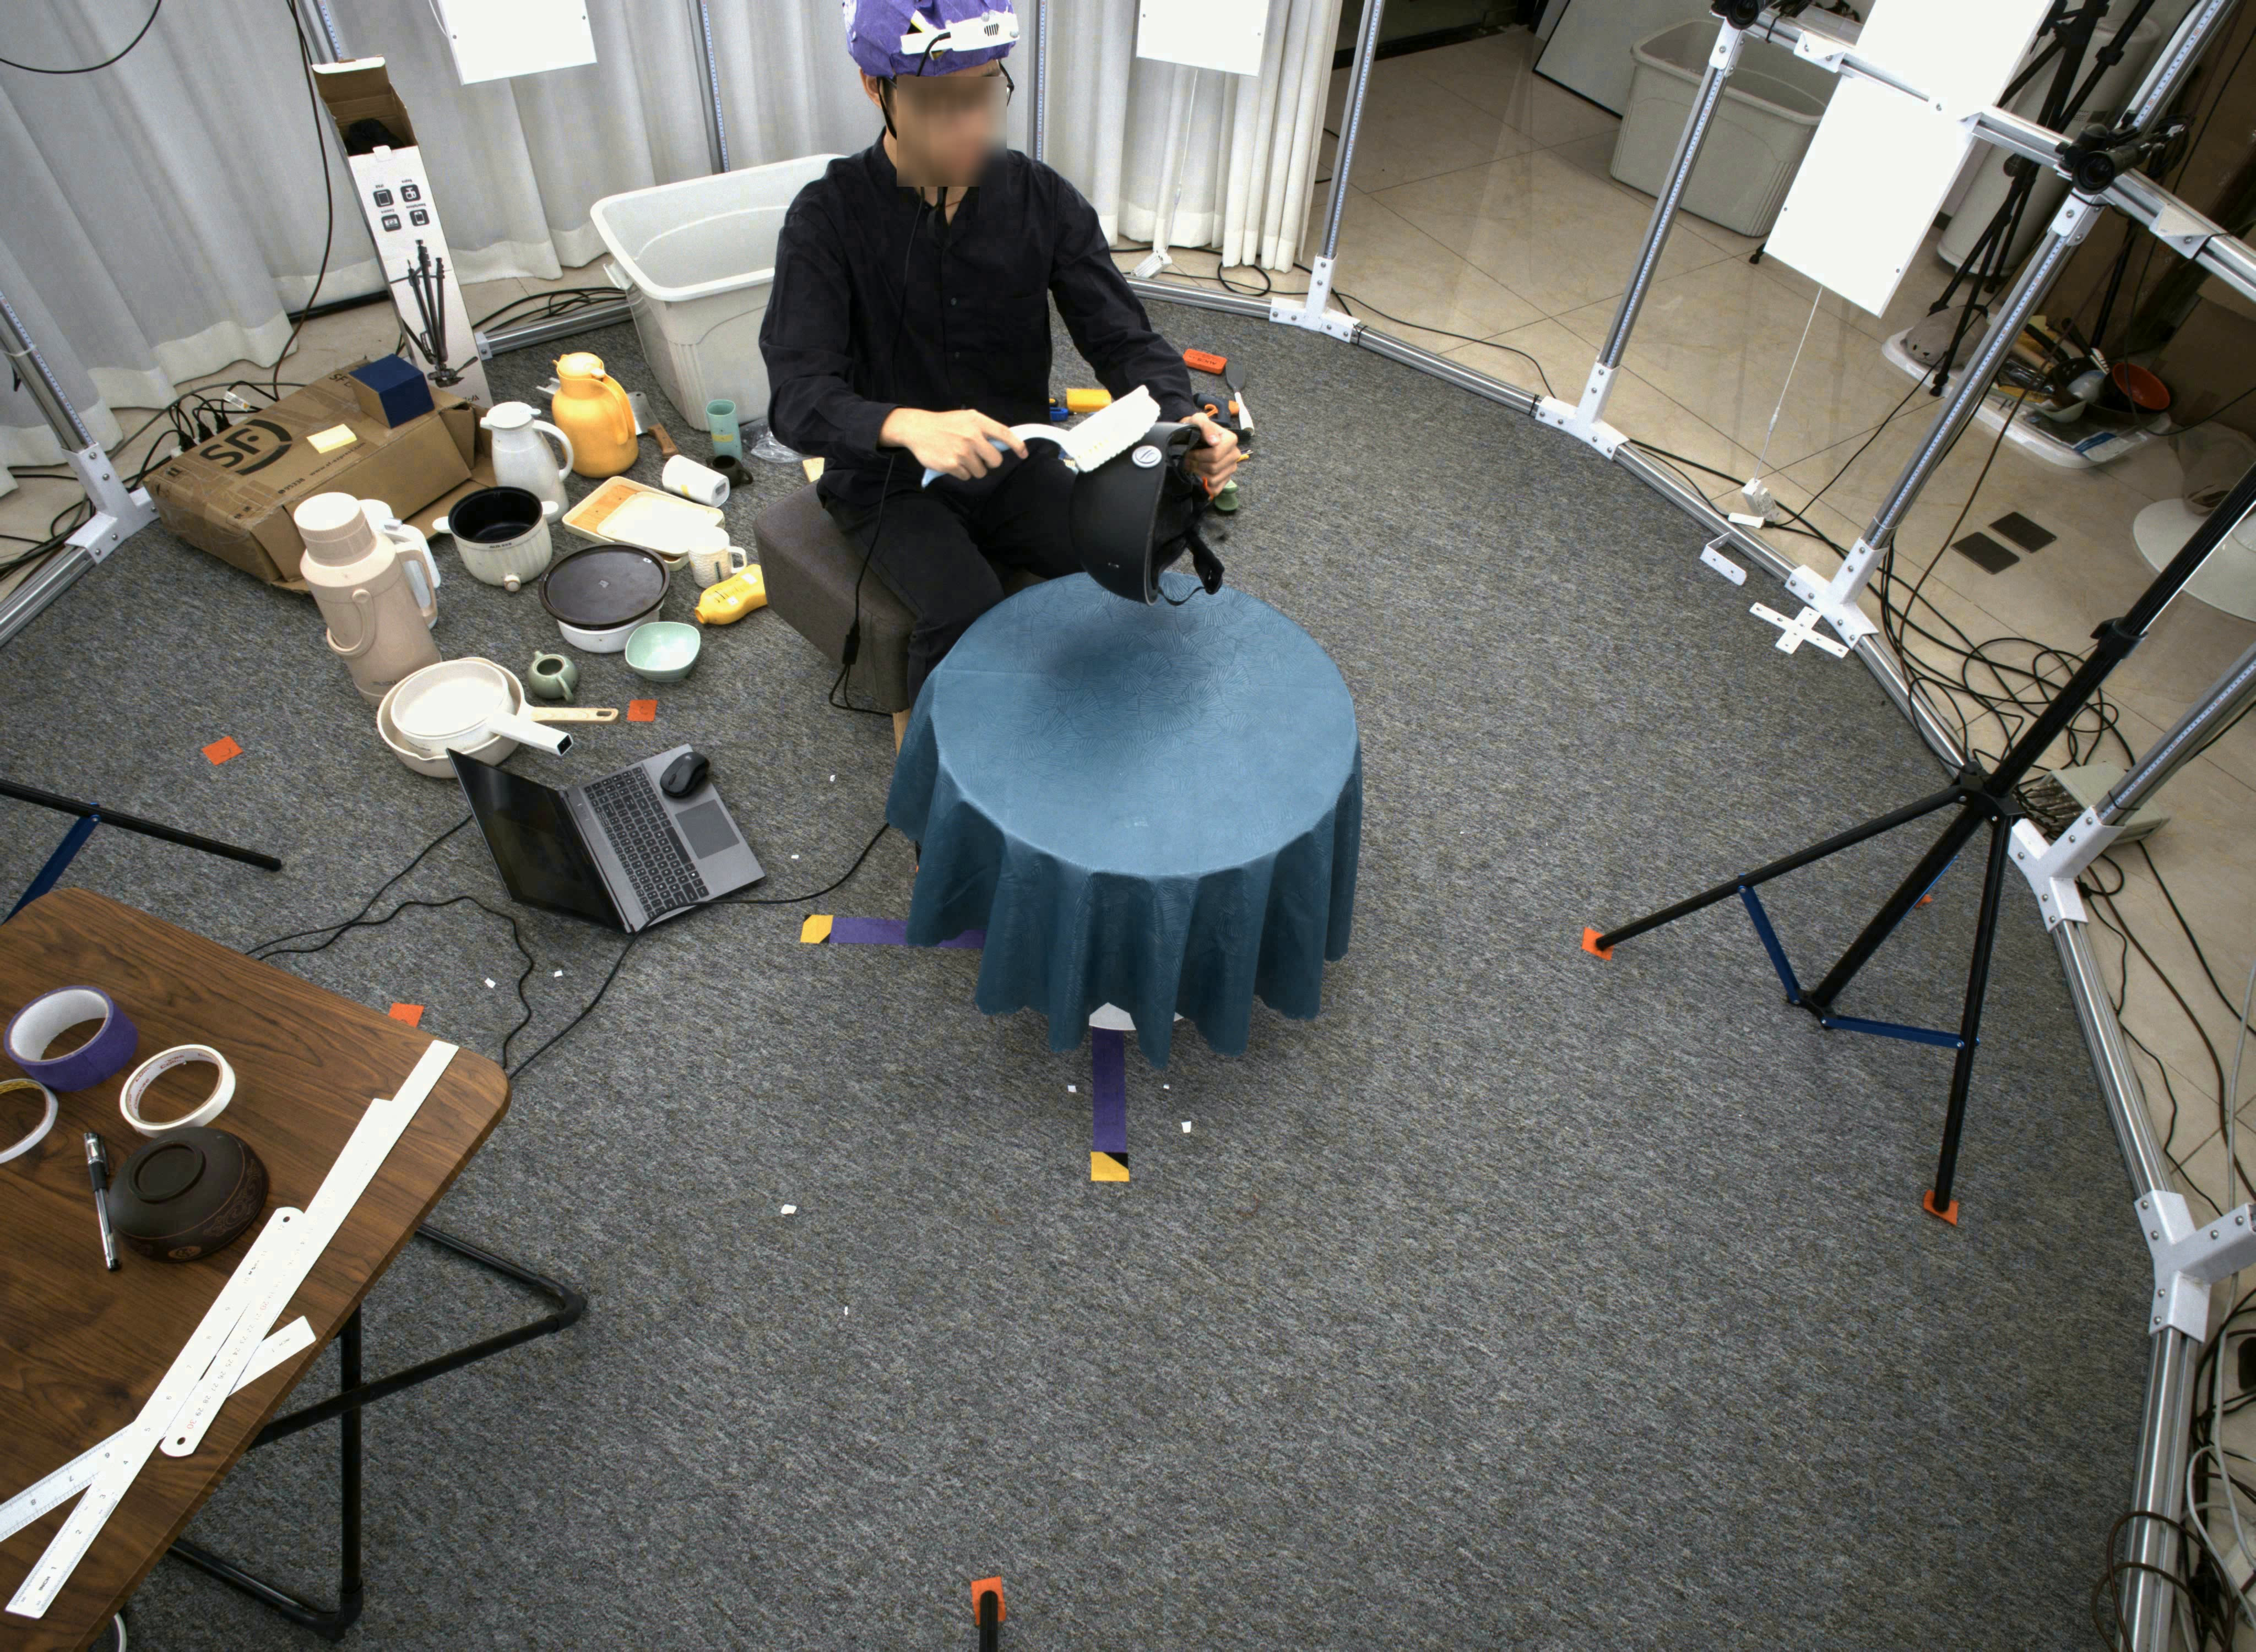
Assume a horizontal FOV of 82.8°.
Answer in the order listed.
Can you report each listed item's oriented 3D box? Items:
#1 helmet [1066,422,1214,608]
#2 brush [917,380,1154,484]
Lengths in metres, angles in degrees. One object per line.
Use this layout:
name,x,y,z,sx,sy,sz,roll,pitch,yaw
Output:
helmet,0.001,-0.435,1.764,0.167,0.224,0.278,16,49,14
brush,-0.116,-0.486,1.689,0.325,0.083,0.085,-19,89,10
